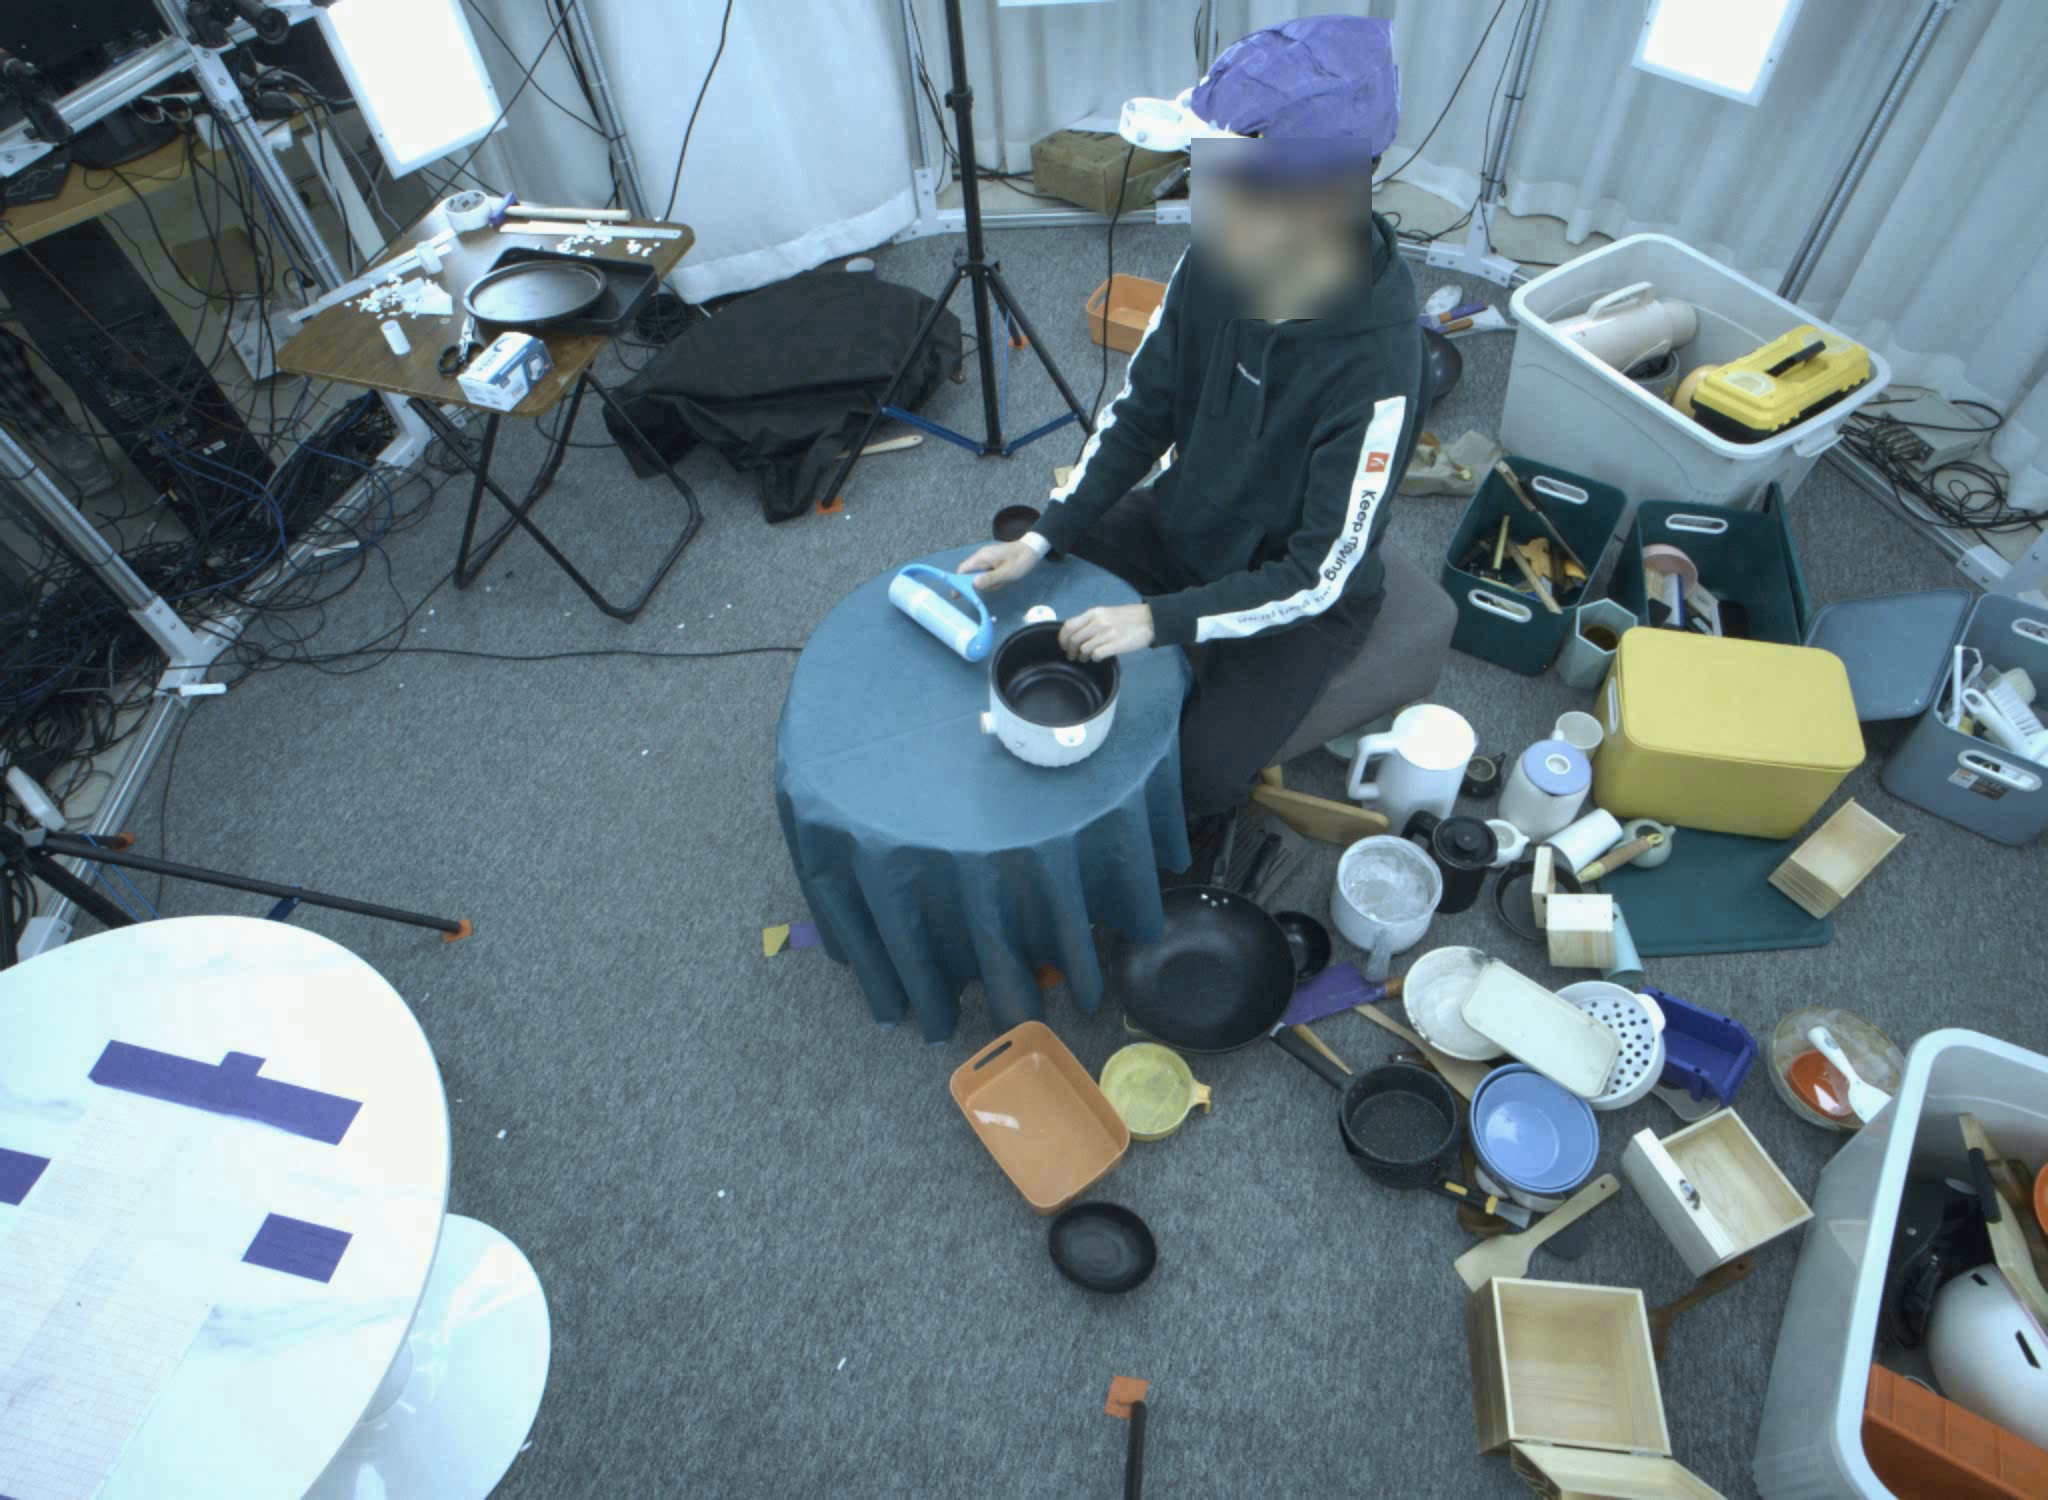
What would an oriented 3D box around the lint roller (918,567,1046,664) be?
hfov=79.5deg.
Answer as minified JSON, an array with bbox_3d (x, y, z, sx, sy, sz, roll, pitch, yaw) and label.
[{"bbox_3d":[-0.043,-0.239,1.899,0.181,0.069,0.224,-42,55,-19],"label":"lint roller"}]

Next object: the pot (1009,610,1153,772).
[{"bbox_3d":[0.078,-0.063,1.730,0.192,0.143,0.237,-6,58,-11],"label":"pot"}]
